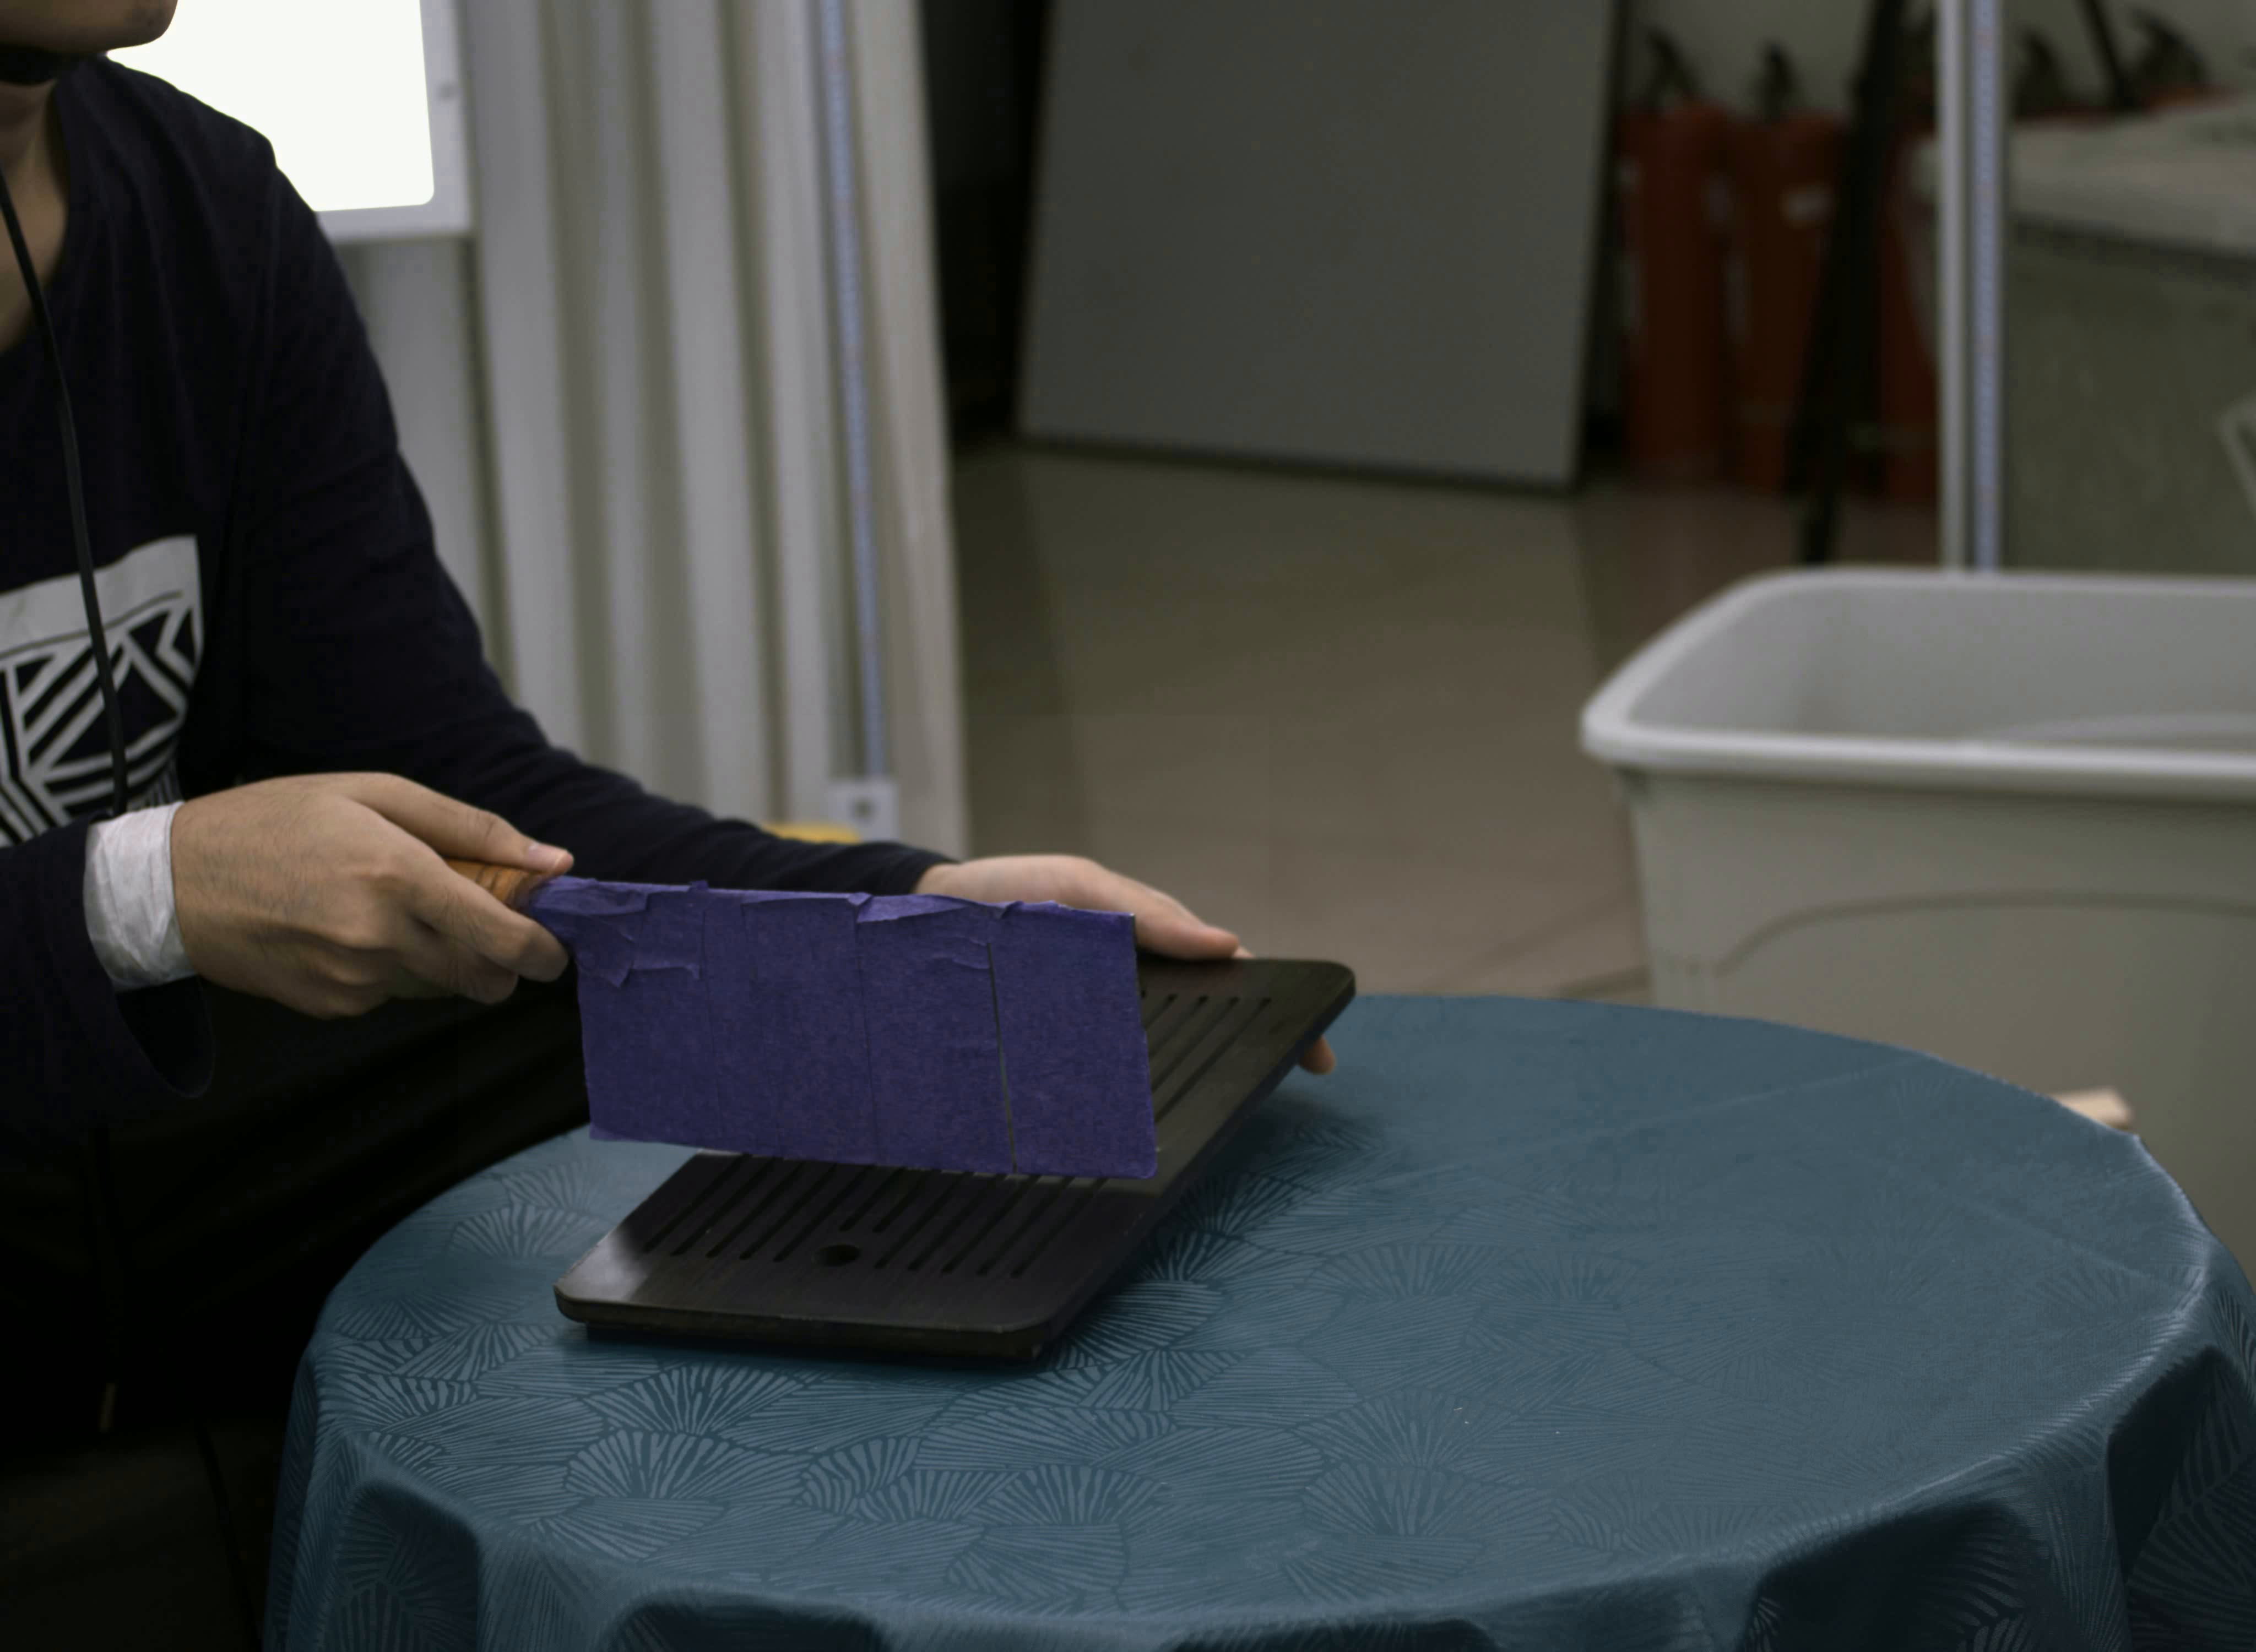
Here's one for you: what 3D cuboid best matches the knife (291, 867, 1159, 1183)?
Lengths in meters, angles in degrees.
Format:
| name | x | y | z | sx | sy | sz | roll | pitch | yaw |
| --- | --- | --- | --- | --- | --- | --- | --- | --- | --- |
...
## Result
| name | x | y | z | sx | sy | sz | roll | pitch | yaw |
| --- | --- | --- | --- | --- | --- | --- | --- | --- | --- |
| knife | -0.134 | 0.062 | 1.742 | 0.316 | 0.105 | 0.032 | 1 | 13 | 30 |

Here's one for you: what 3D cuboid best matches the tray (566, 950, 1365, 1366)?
| name | x | y | z | sx | sy | sz | roll | pitch | yaw |
| --- | --- | --- | --- | --- | --- | --- | --- | --- | --- |
| tray | -0.045 | 0.104 | 1.759 | 0.170 | 0.019 | 0.303 | 1 | 21 | 23 |
